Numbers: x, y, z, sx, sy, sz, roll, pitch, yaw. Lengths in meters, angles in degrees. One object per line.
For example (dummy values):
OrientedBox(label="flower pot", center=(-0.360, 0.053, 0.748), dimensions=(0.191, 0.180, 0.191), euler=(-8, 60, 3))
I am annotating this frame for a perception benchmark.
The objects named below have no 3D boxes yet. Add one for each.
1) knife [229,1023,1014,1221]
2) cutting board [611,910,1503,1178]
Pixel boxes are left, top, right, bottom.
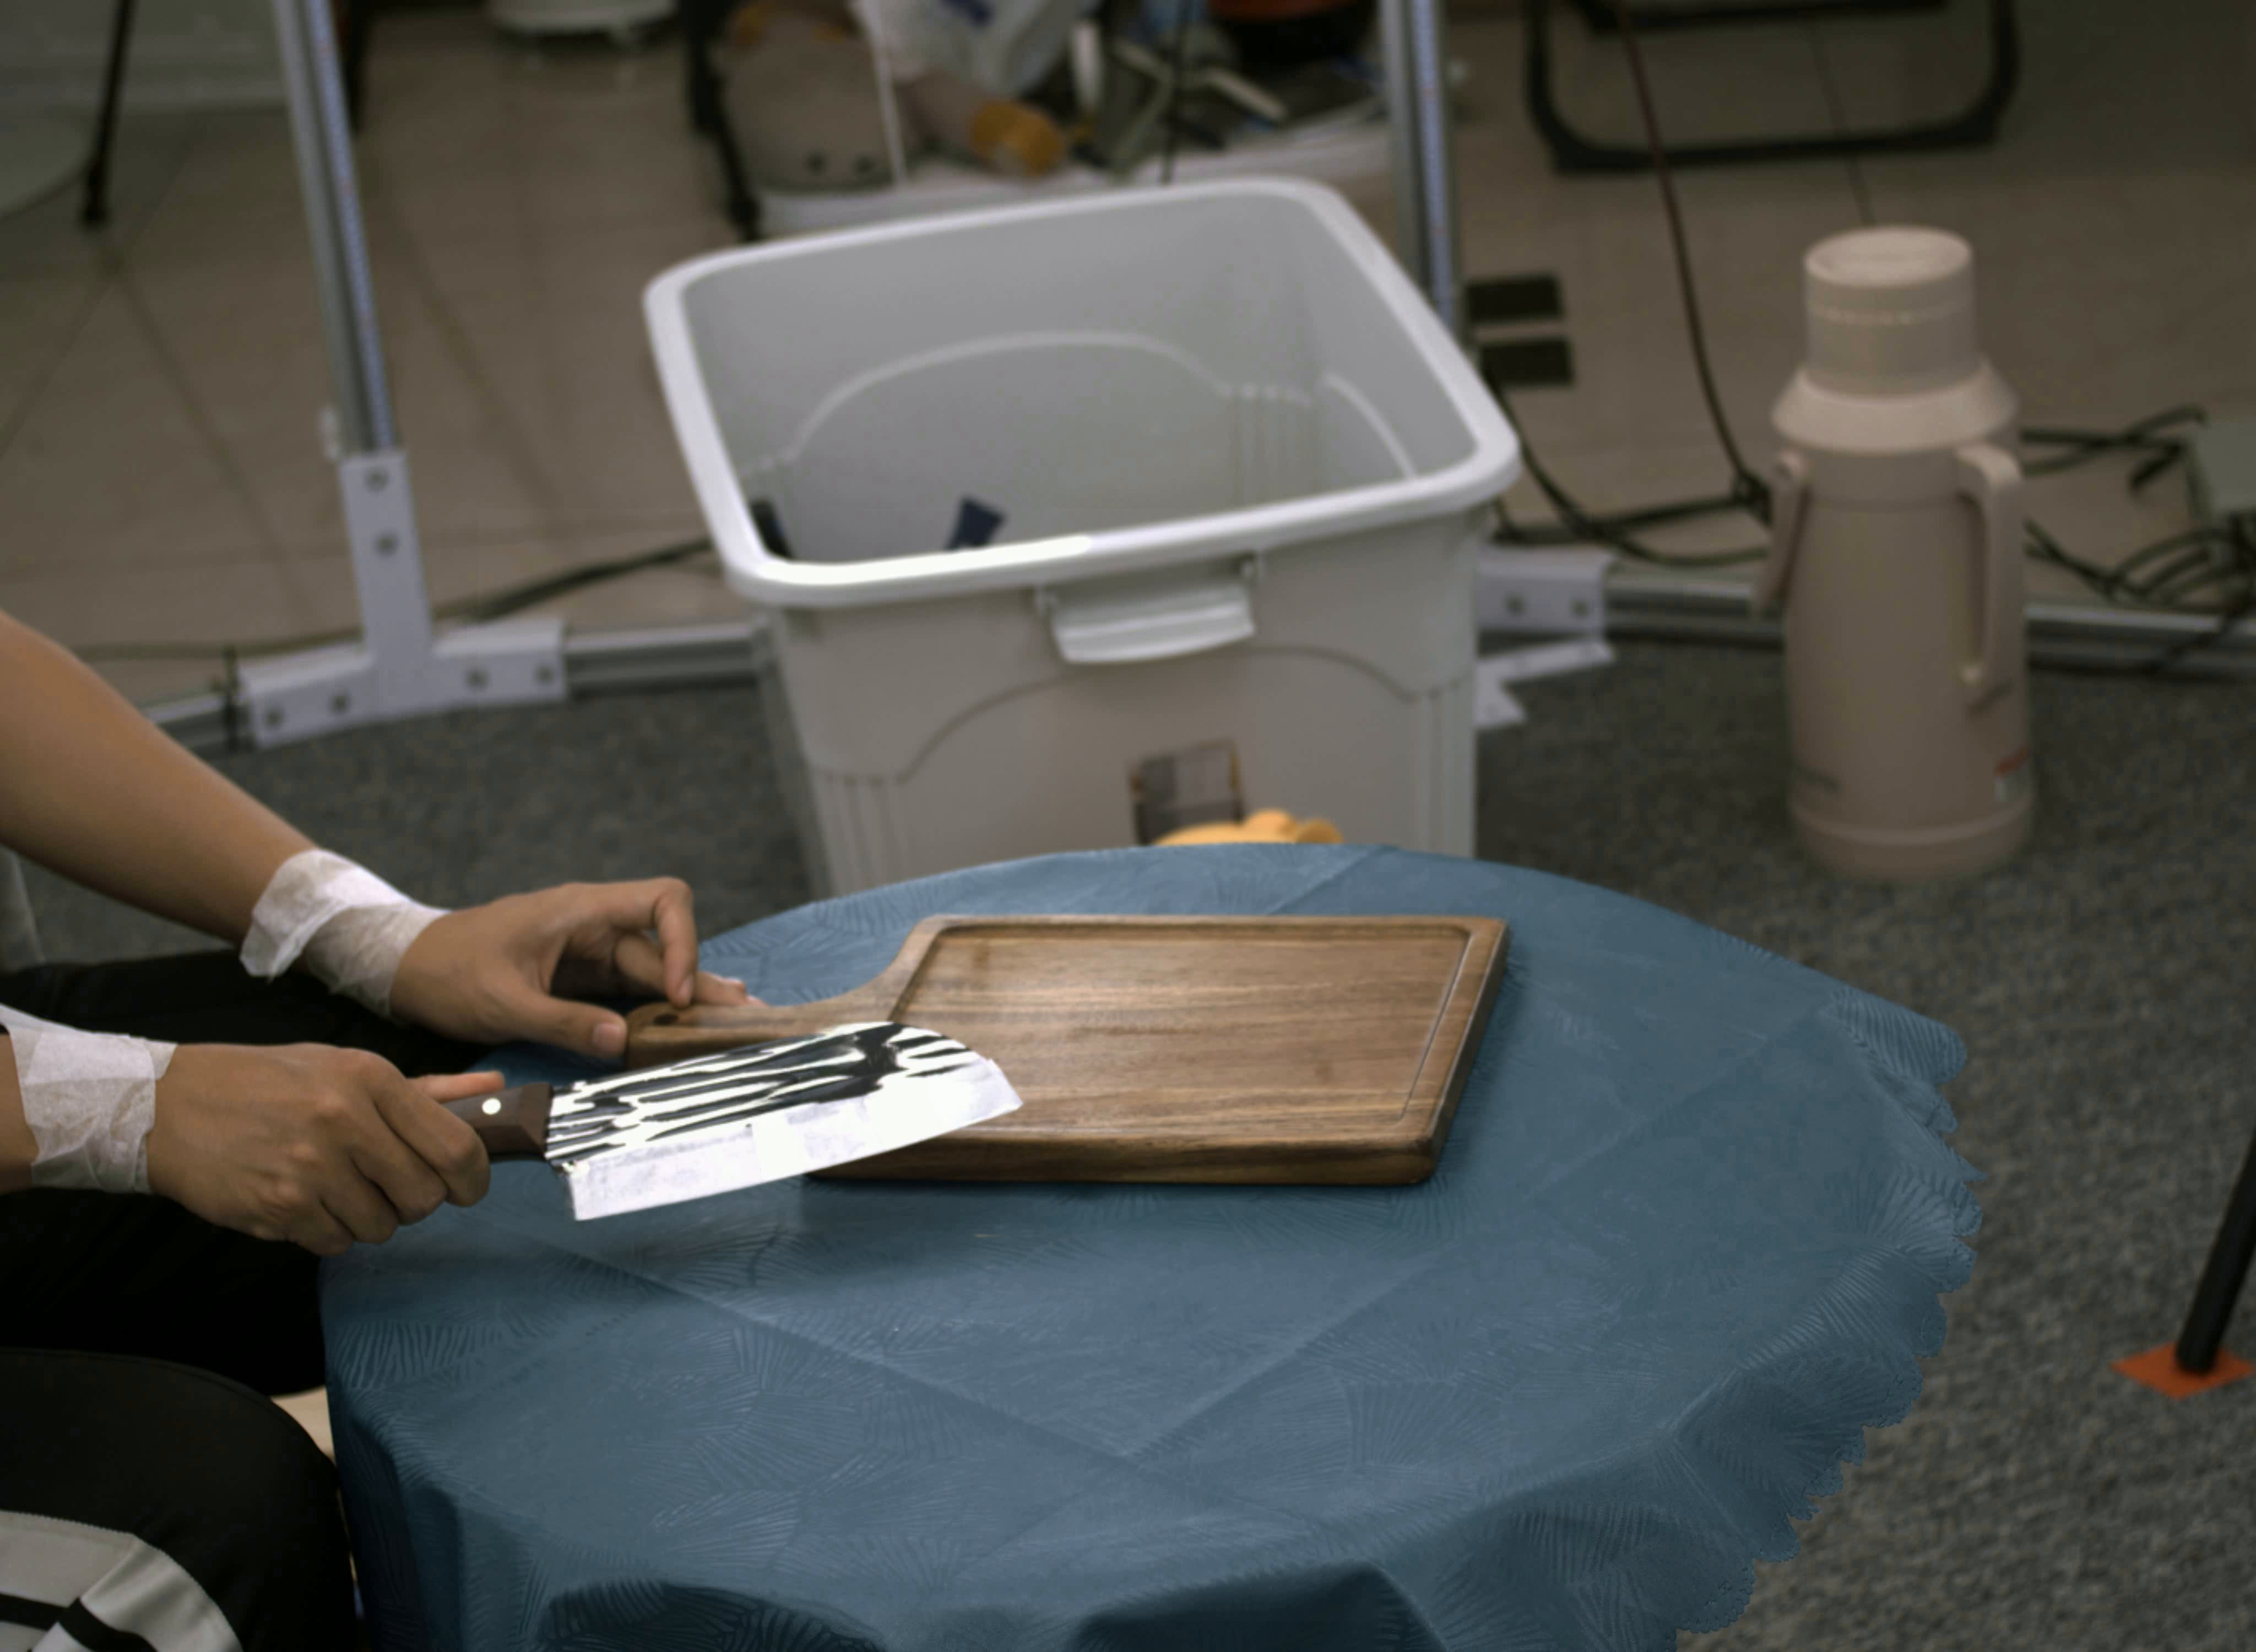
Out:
OrientedBox(label="knife", center=(-0.191, 0.117, 2.133), dimensions=(0.299, 0.024, 0.067), euler=(-11, 49, 2))
OrientedBox(label="cutting board", center=(-0.036, 0.085, 2.251), dimensions=(0.351, 0.023, 0.198), euler=(-1, 25, 14))
